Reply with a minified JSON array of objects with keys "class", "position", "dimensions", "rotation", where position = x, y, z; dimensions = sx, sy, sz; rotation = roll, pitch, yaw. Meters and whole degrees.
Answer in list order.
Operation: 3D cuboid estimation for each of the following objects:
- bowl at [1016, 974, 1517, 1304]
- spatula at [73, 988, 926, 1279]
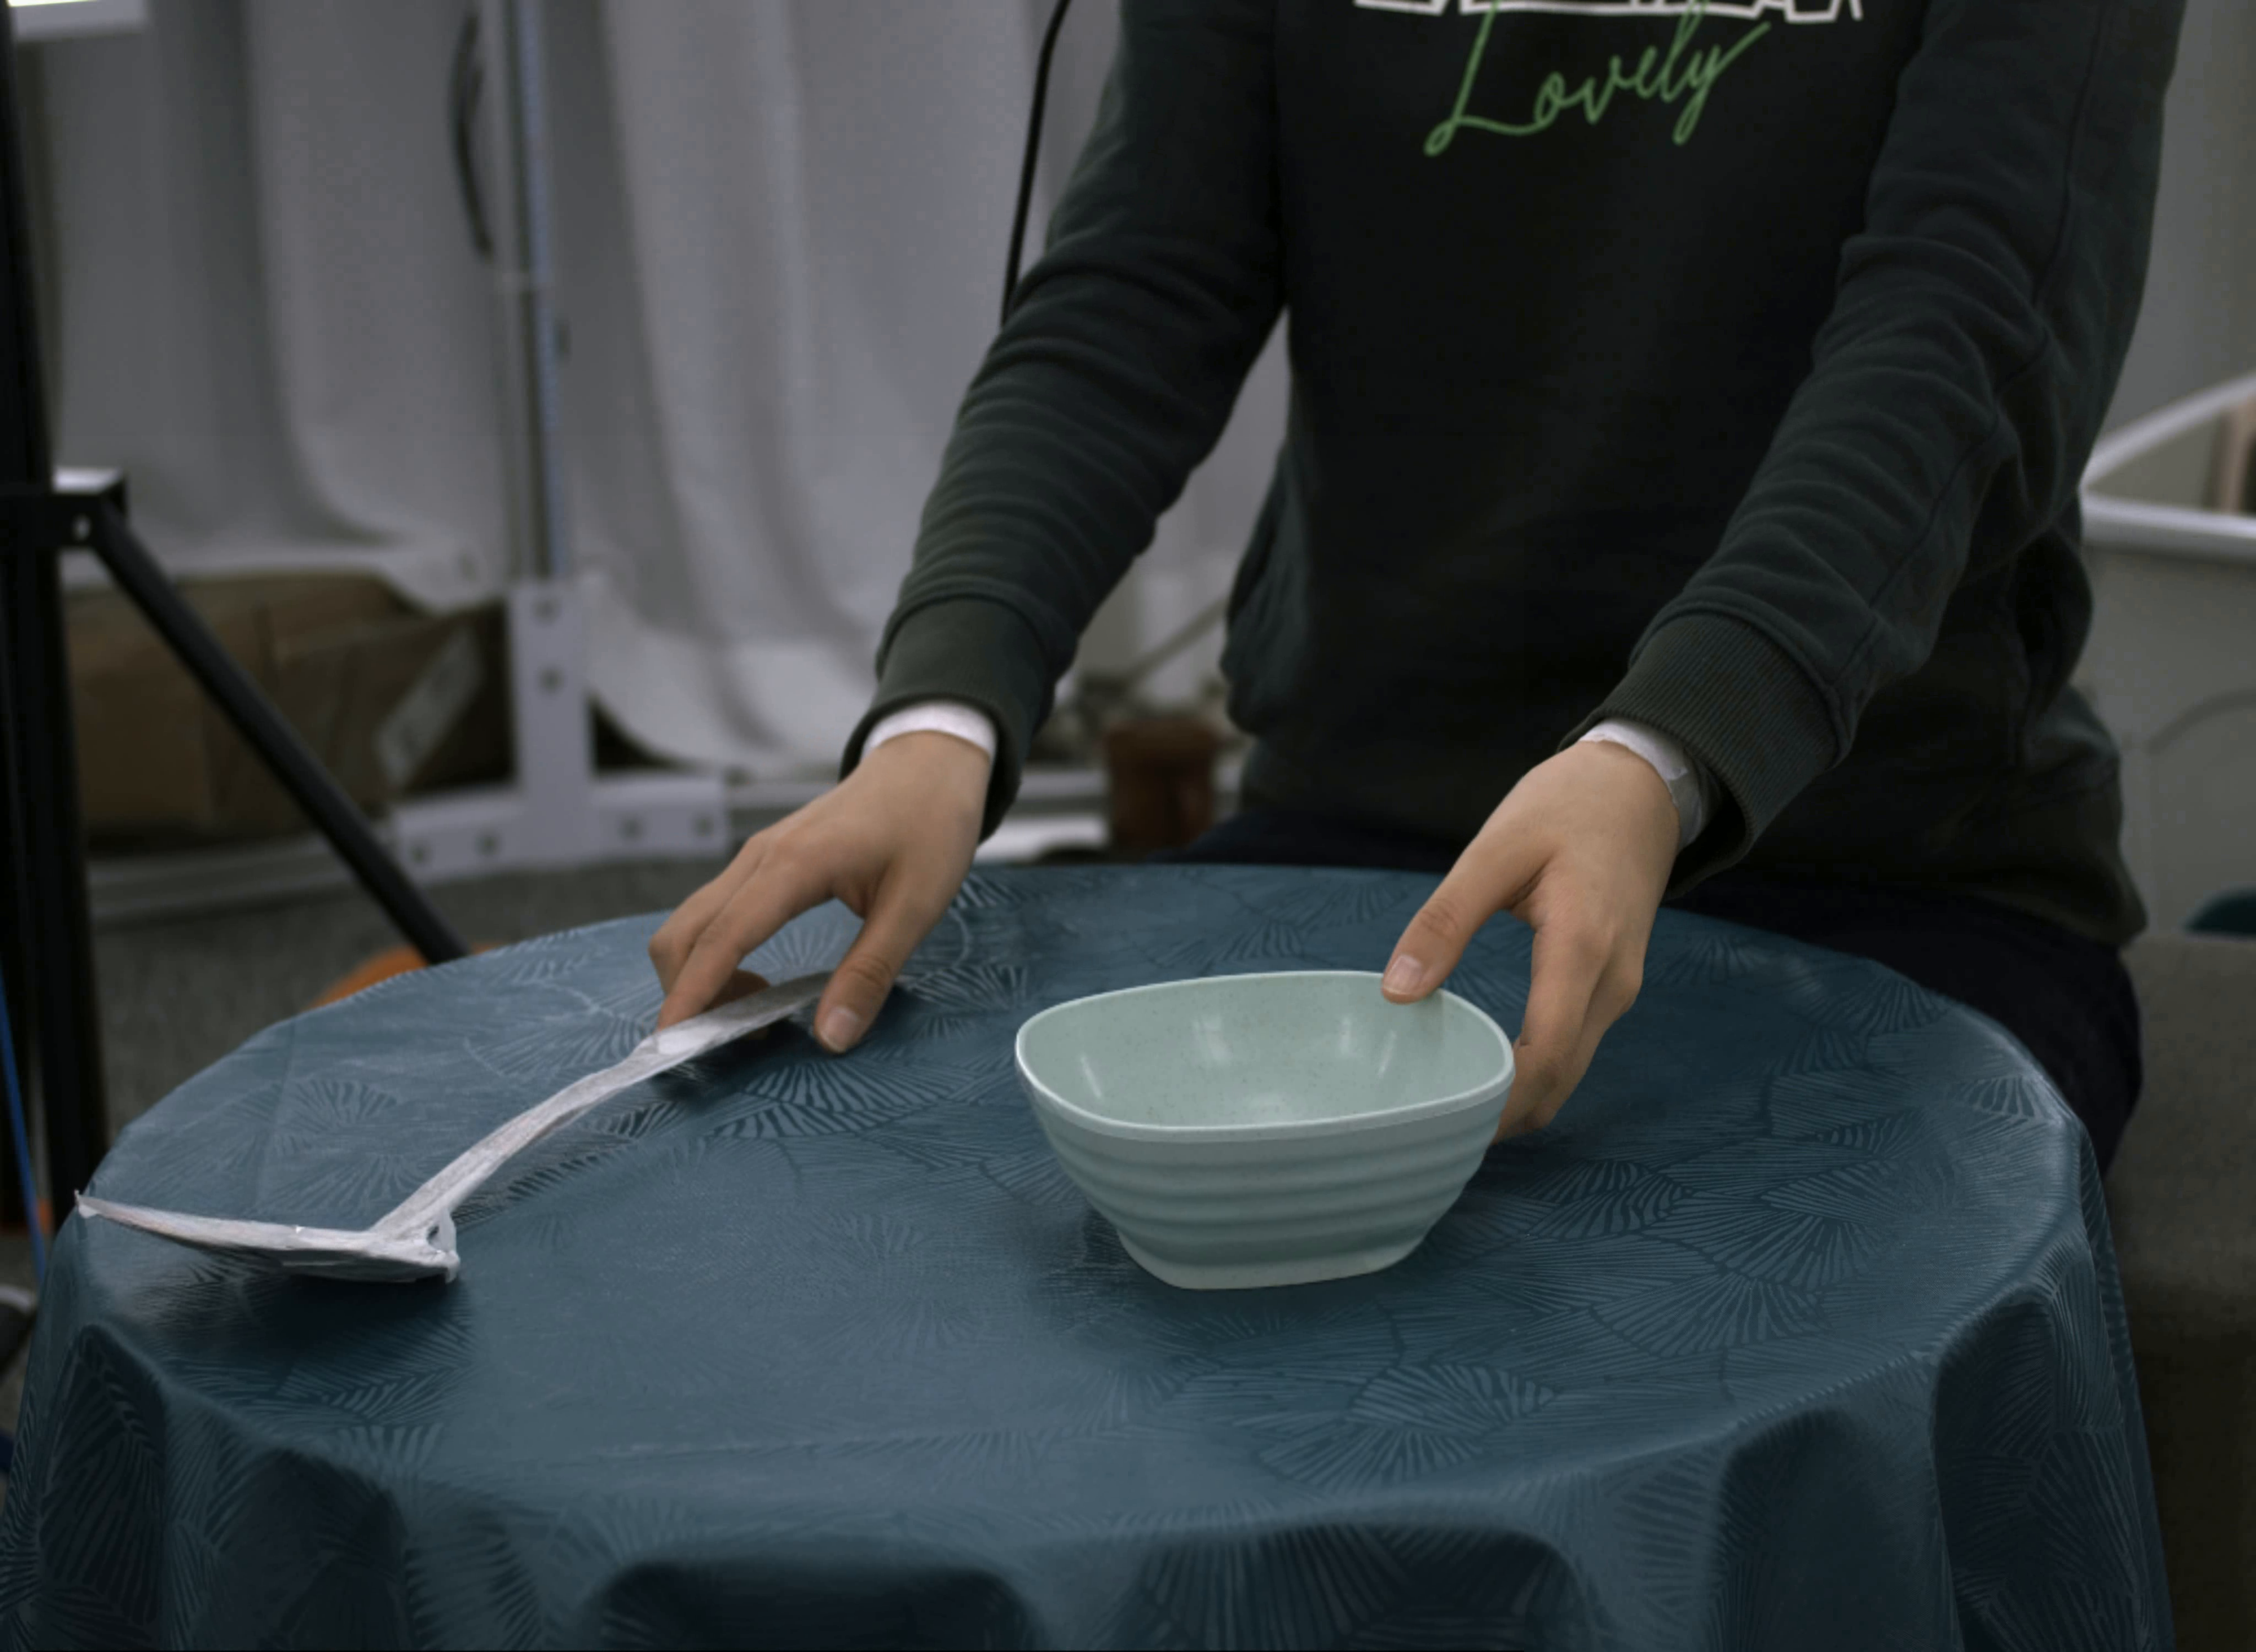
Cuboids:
[{"class":"bowl","position":[0.039,0.093,1.513],"dimensions":[0.150,0.058,0.152],"rotation":[-2,17,-1]},{"class":"spatula","position":[-0.168,0.082,1.606],"dimensions":[0.100,0.045,0.358],"rotation":[5,18,31]}]
